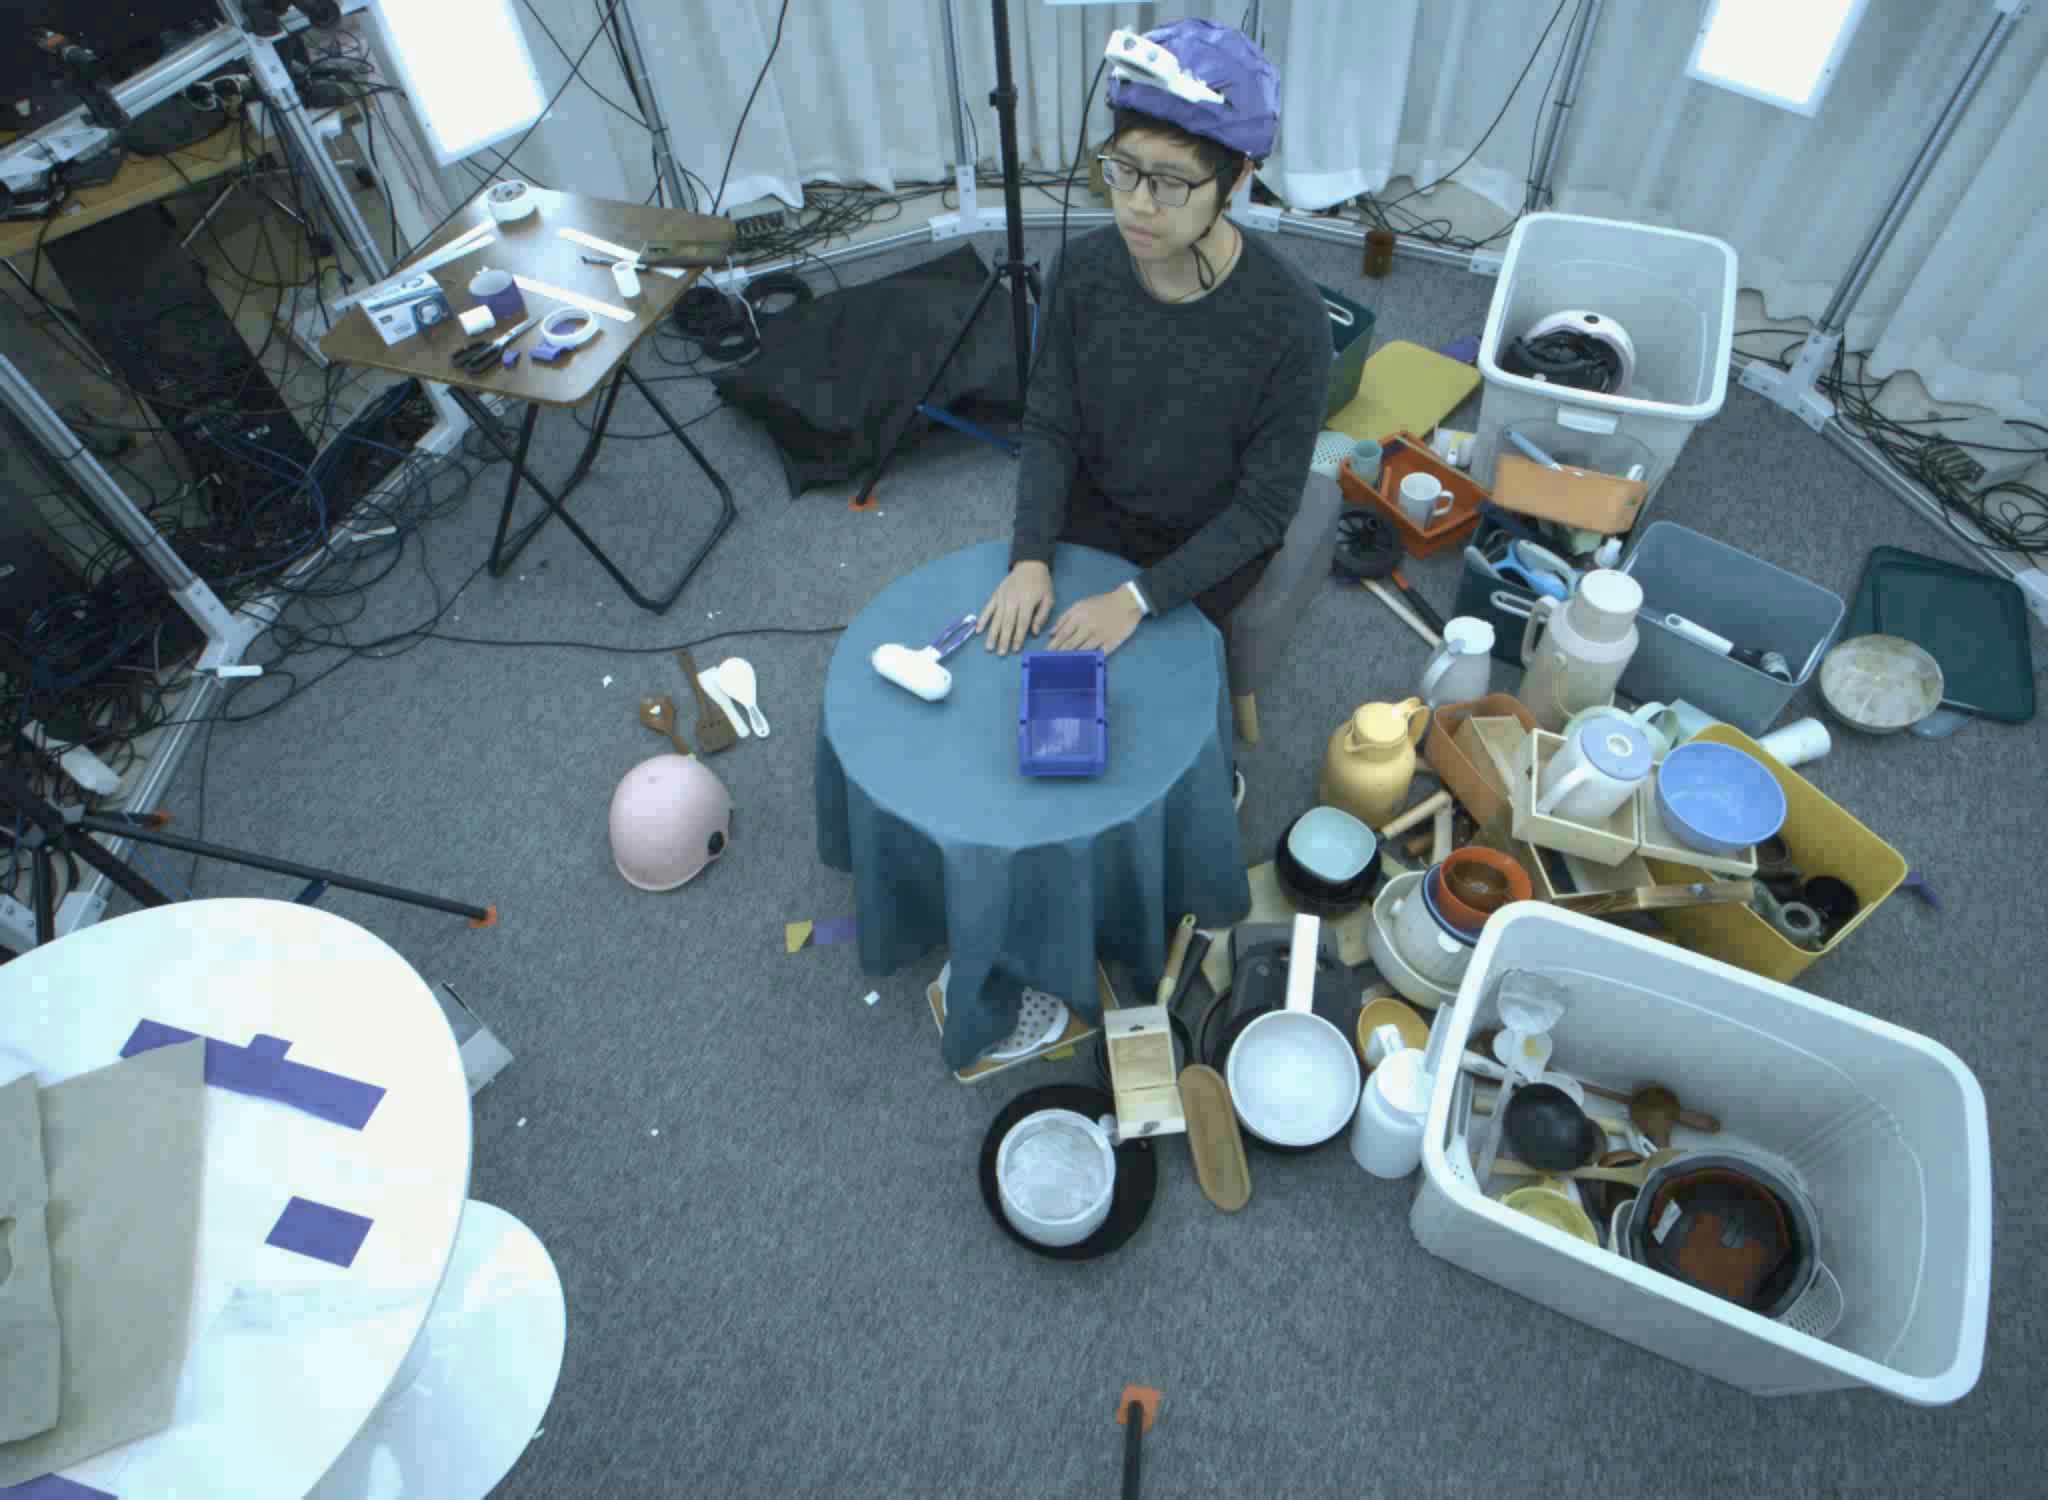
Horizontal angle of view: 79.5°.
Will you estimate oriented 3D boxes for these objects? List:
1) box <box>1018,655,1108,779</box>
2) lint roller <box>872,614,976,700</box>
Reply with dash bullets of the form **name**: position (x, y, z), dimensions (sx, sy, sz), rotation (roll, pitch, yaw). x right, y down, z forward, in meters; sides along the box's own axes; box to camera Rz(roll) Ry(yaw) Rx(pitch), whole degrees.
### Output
- **box**: position (0.058, -0.043, 1.766), dimensions (0.124, 0.083, 0.177), rotation (1, 52, 3)
- **lint roller**: position (-0.133, -0.160, 1.877), dimensions (0.130, 0.051, 0.181), rotation (30, 62, 23)
